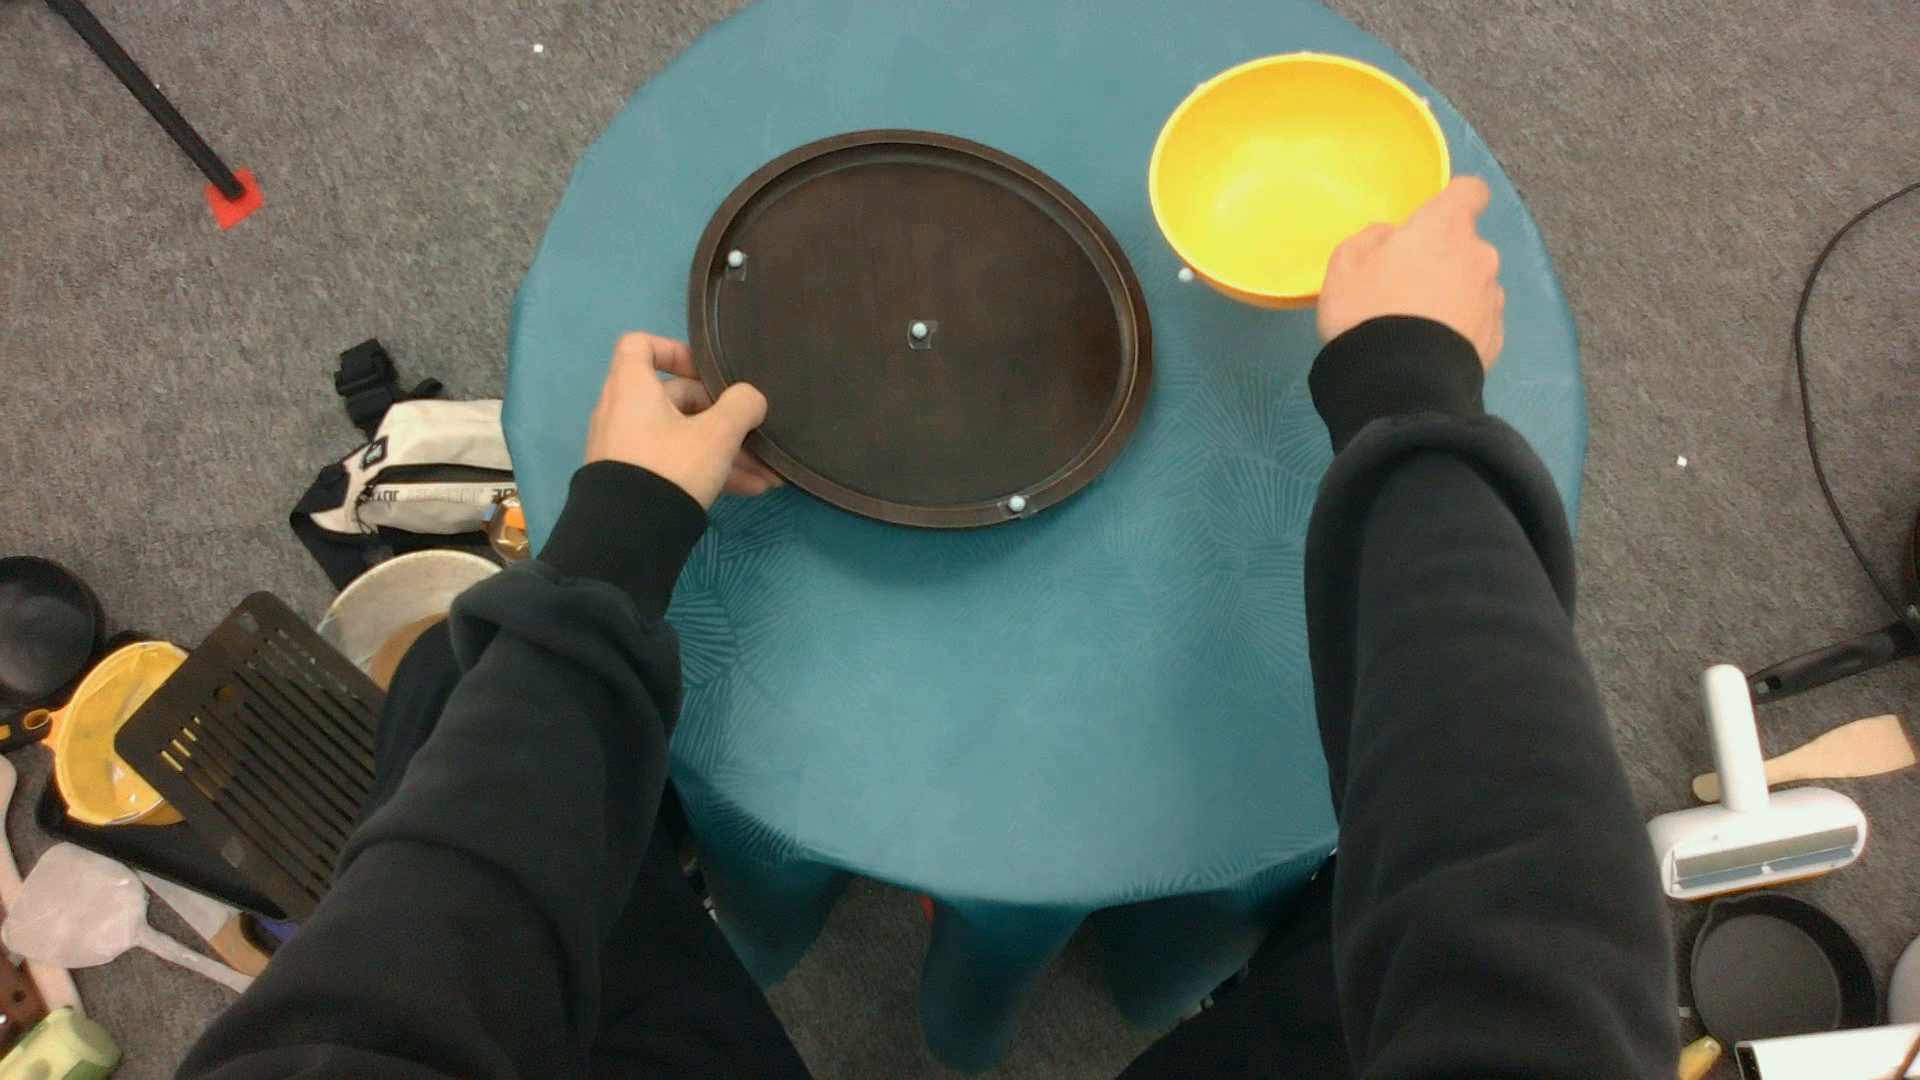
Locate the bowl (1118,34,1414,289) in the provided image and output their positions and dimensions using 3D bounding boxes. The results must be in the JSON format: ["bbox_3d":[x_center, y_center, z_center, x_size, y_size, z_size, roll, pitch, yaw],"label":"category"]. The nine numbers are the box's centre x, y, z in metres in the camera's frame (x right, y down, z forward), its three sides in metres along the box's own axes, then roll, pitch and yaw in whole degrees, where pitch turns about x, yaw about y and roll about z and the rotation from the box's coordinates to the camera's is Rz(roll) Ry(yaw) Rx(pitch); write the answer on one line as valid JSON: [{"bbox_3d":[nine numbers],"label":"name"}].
[{"bbox_3d":[0.157,-0.184,0.711,0.145,0.060,0.146,-4,68,12],"label":"bowl"}]

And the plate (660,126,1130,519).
[{"bbox_3d":[-0.031,-0.121,0.737,0.255,0.029,0.256,7,62,-13],"label":"plate"}]
